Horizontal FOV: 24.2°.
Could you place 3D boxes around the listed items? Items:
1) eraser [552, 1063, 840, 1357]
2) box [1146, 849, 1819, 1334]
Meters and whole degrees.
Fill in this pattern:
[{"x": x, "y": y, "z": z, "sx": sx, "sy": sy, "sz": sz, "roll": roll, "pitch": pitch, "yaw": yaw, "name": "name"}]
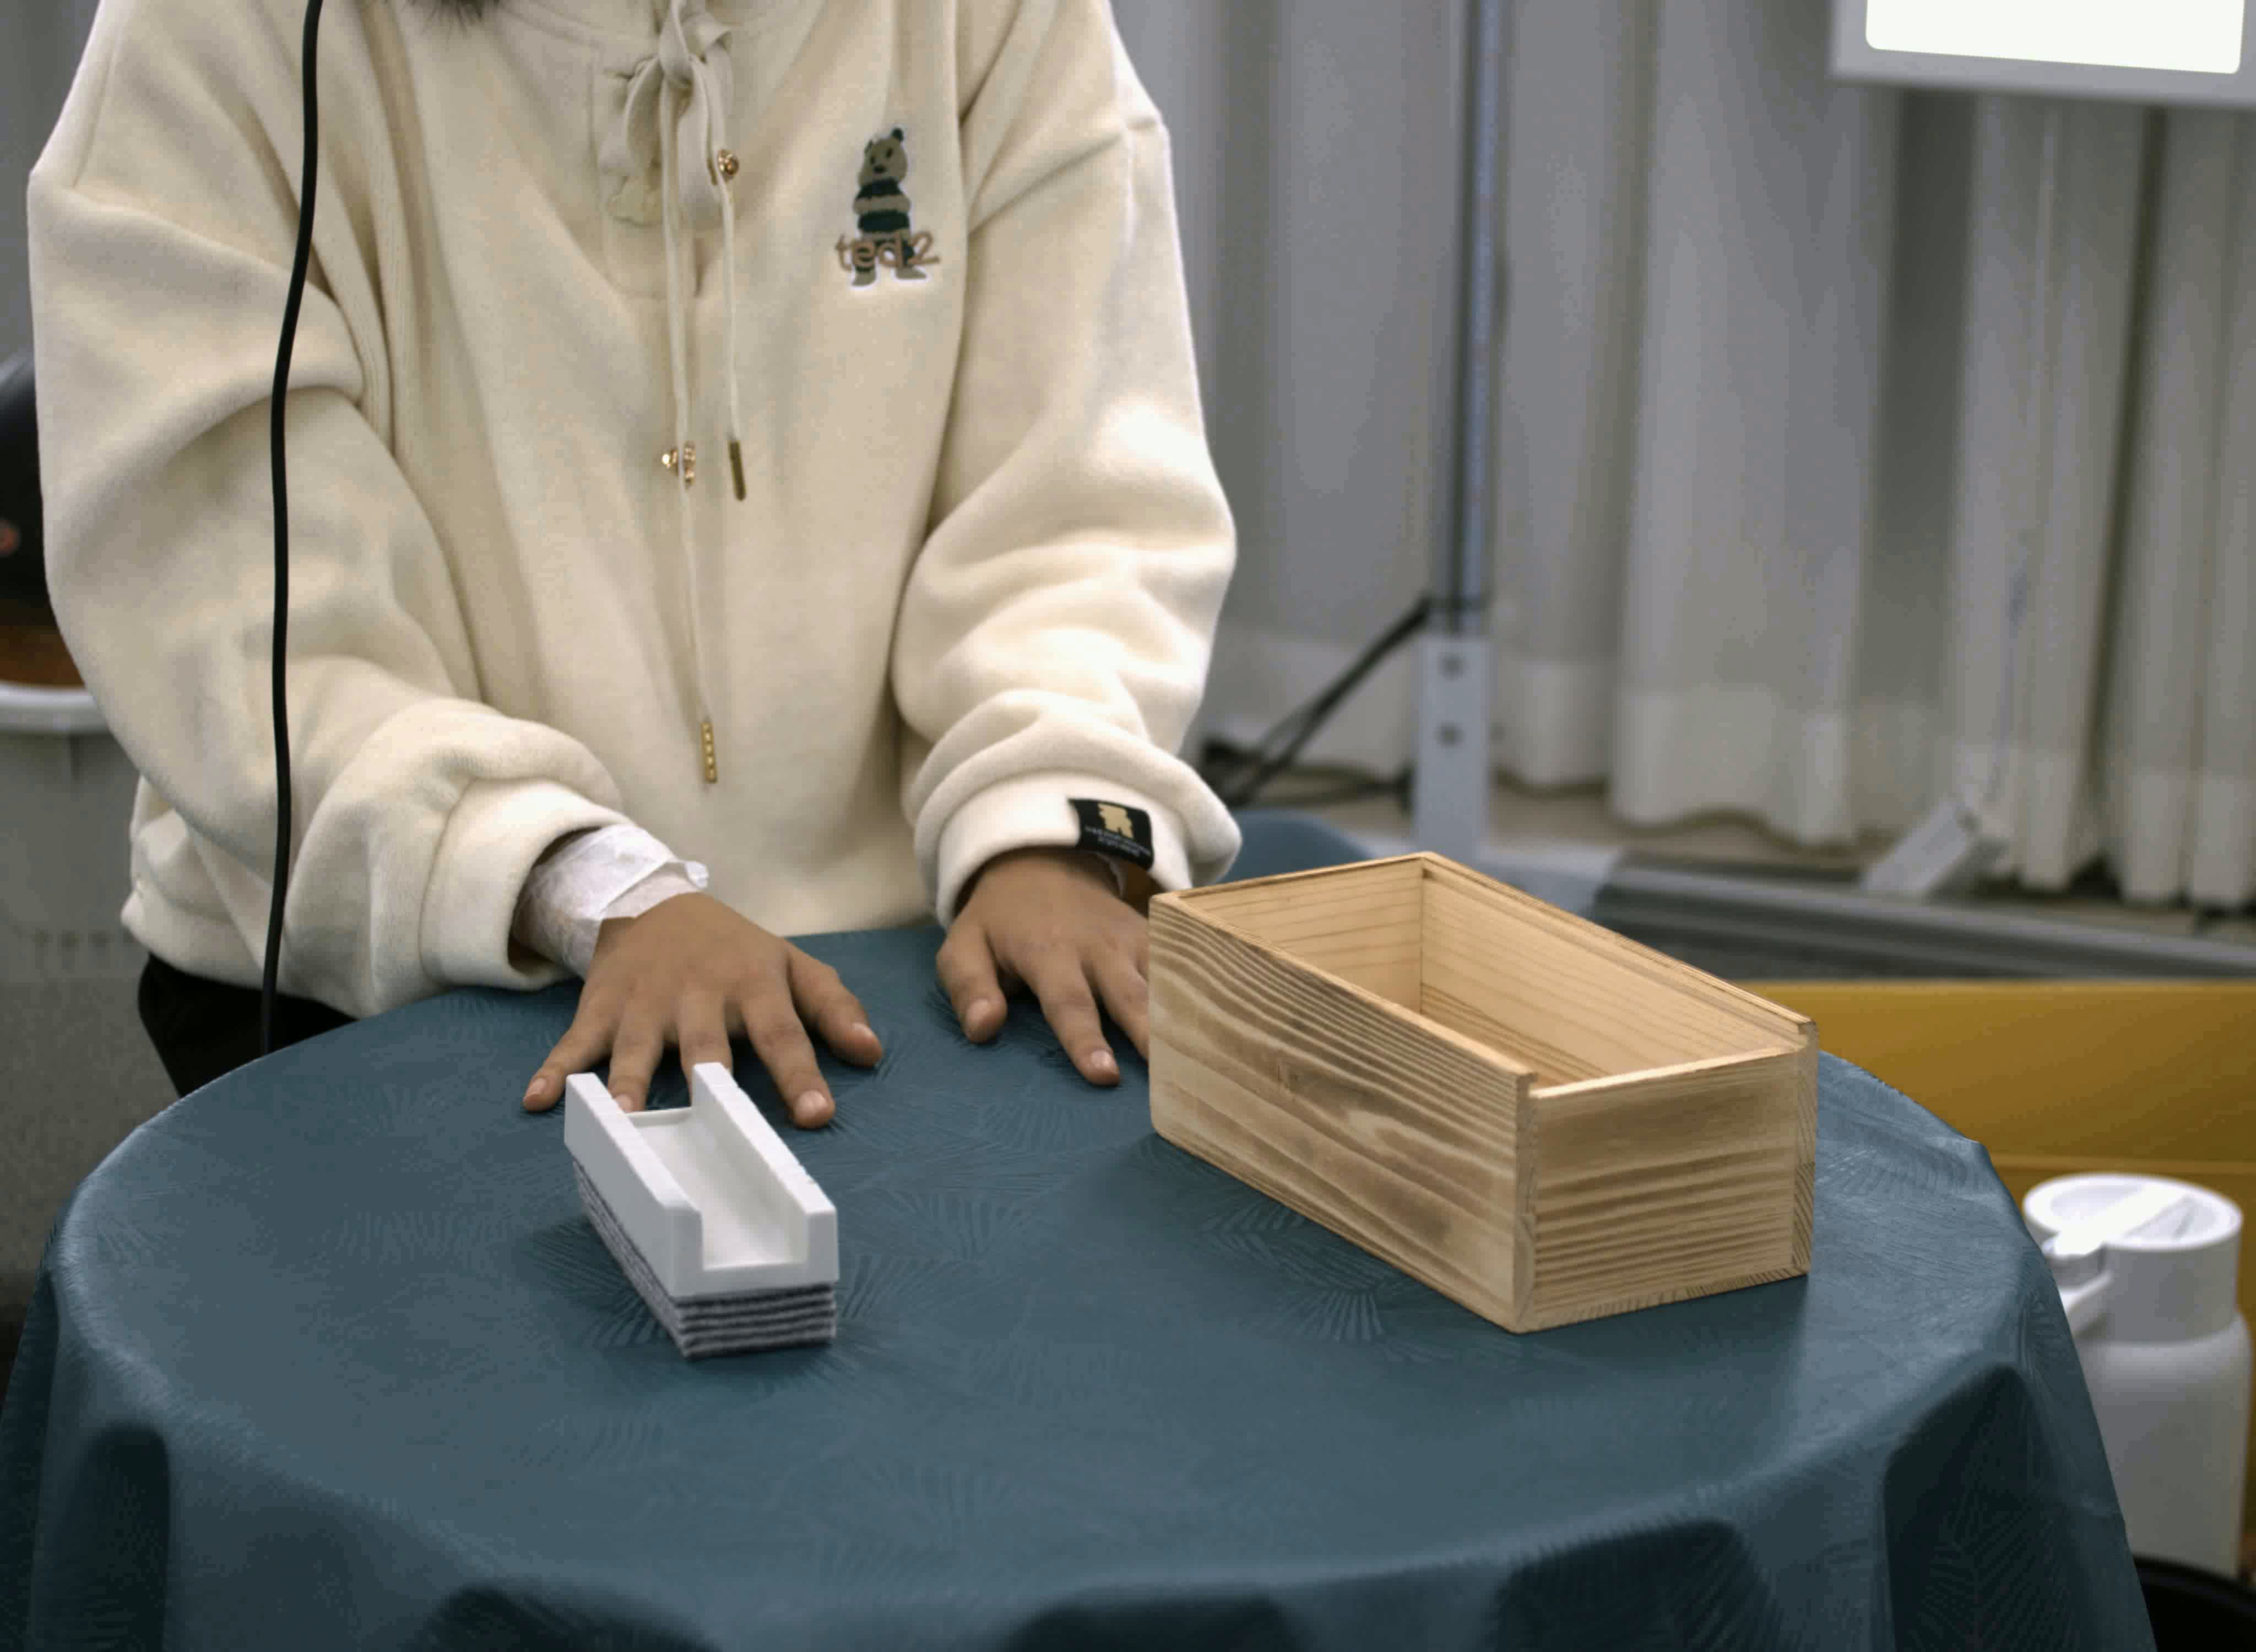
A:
[{"x": -0.127, "y": 0.110, "z": 1.535, "sx": 0.050, "sy": 0.047, "sz": 0.133, "roll": -7, "pitch": 19, "yaw": -20, "name": "eraser"}, {"x": 0.103, "y": 0.076, "z": 1.605, "sx": 0.108, "sy": 0.081, "sz": 0.208, "roll": -8, "pitch": 18, "yaw": -30, "name": "box"}]
